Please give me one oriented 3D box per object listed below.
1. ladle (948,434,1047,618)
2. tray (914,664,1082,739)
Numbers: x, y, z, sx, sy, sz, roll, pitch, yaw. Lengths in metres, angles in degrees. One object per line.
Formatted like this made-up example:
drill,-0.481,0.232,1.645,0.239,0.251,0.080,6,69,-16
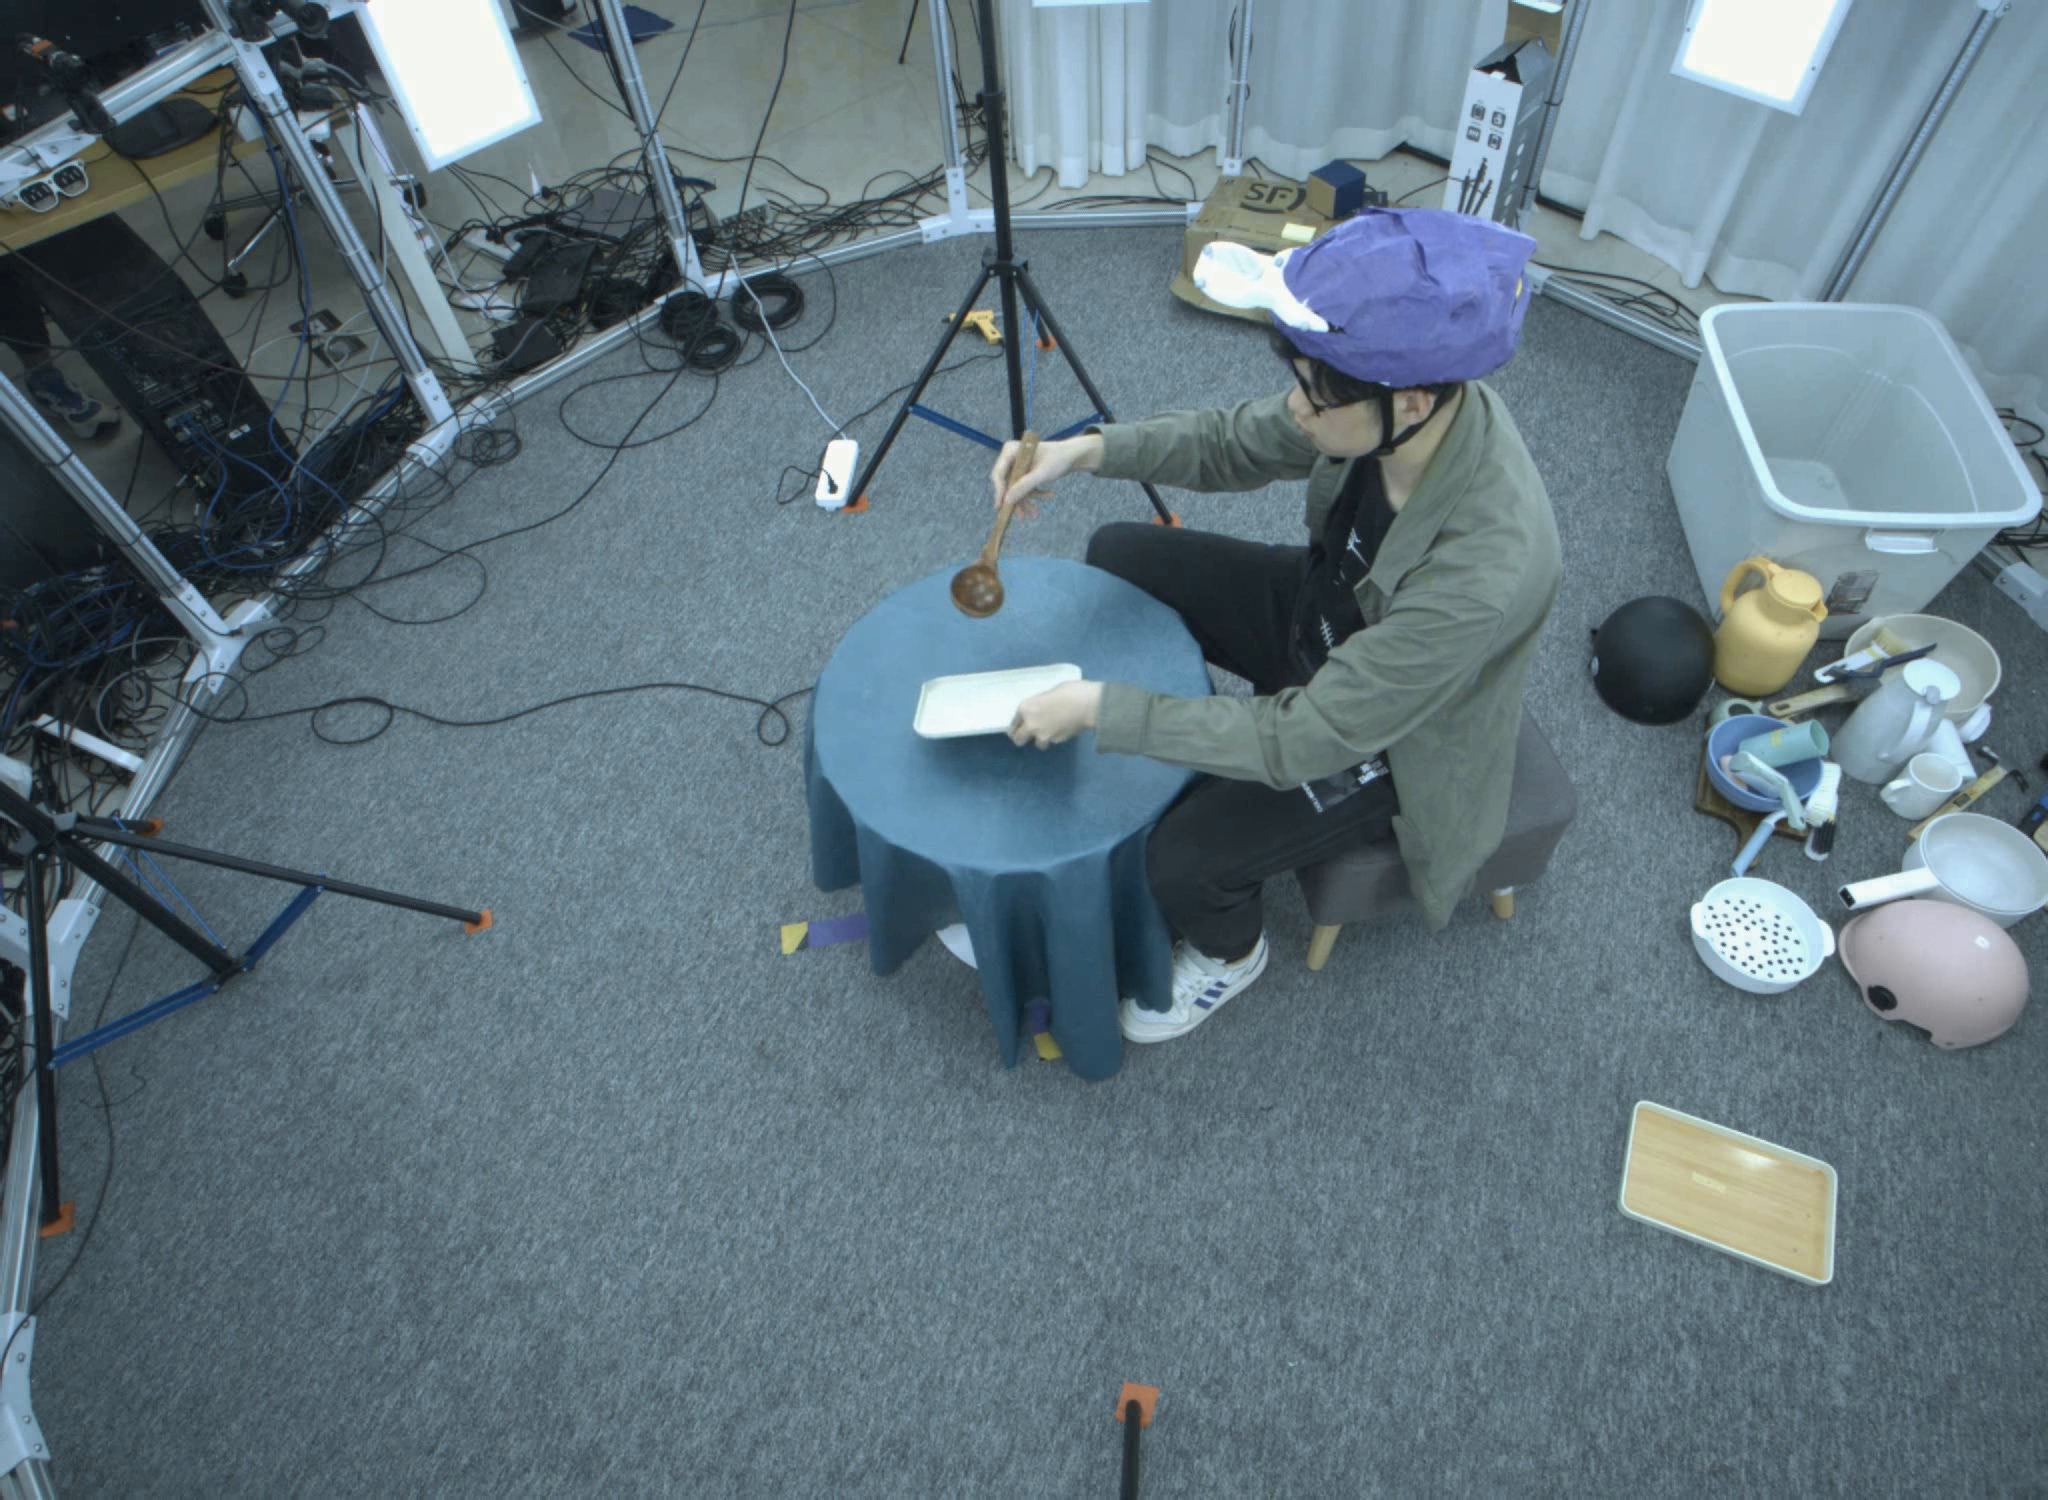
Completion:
ladle,-0.032,-0.319,1.742,0.083,0.274,0.075,19,21,-14
tray,-0.035,-0.070,1.777,0.239,0.018,0.169,-5,31,4
